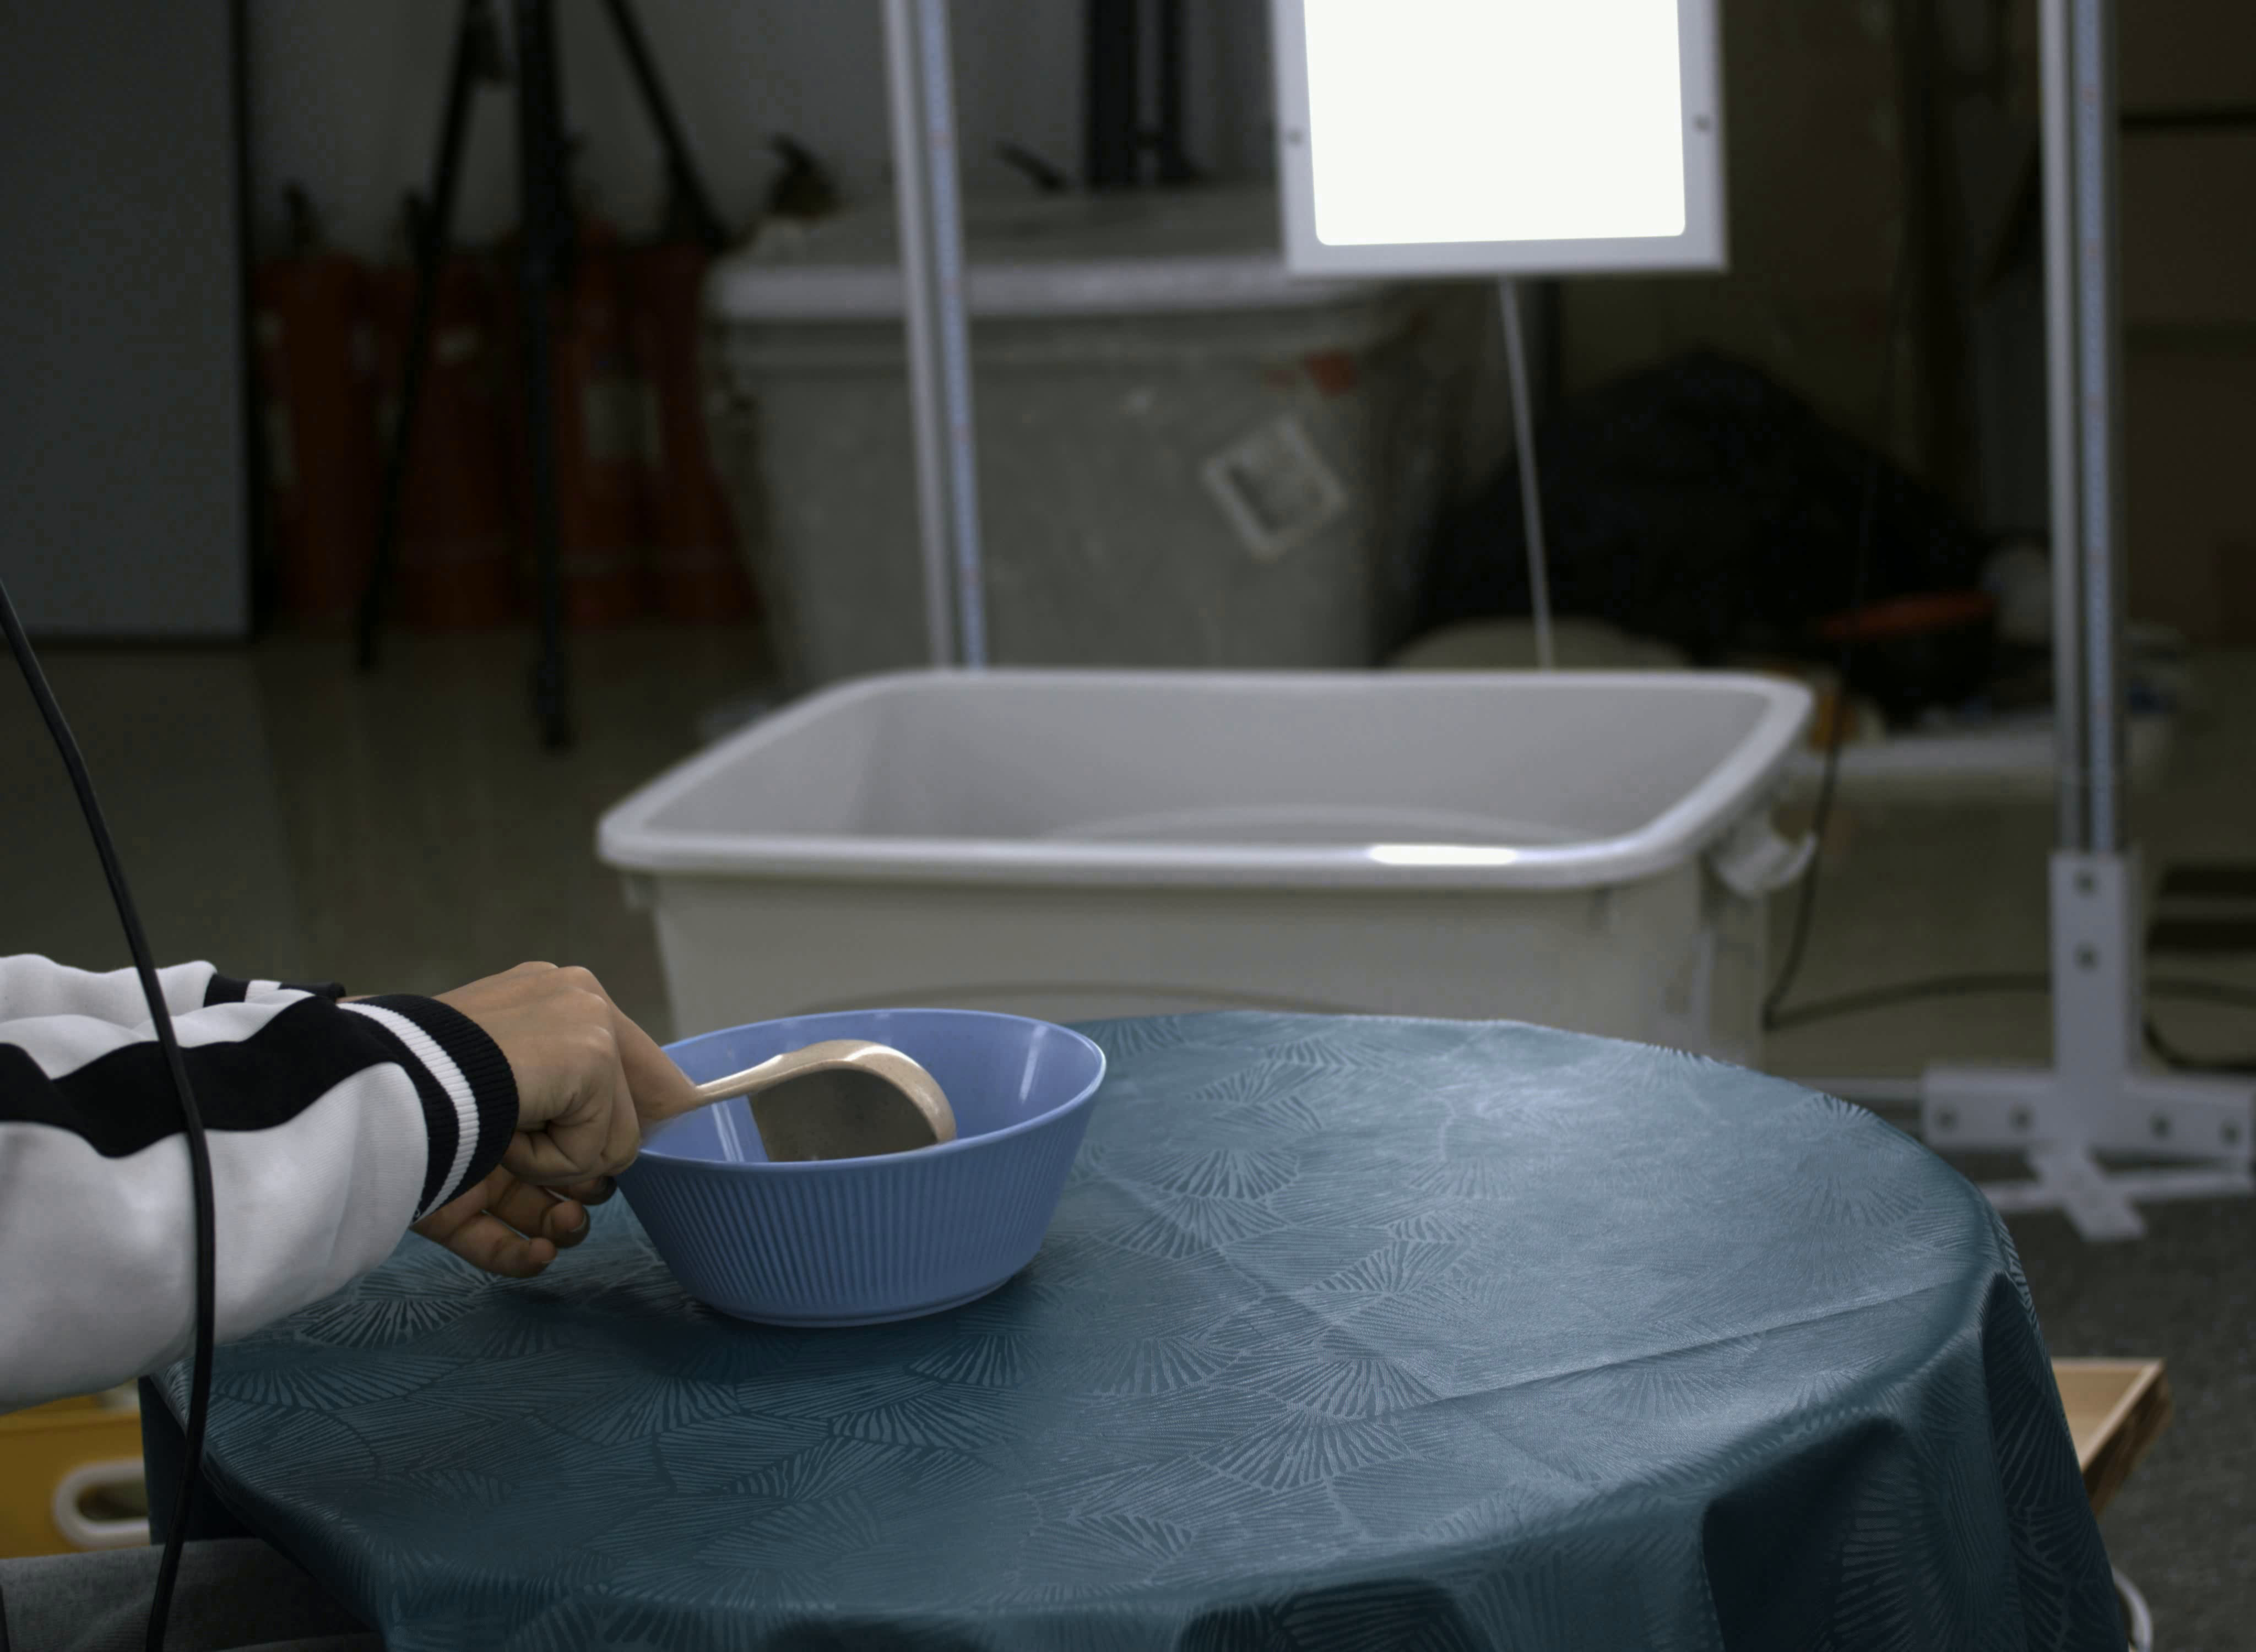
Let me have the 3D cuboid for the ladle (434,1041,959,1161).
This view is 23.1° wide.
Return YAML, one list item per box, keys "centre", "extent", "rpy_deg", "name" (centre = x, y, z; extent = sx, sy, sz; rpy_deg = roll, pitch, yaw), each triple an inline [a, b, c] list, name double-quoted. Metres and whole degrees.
- centre: [-0.139, 0.112, 1.741]
  extent: [0.073, 0.073, 0.248]
  rpy_deg: [6, 6, 31]
  name: "ladle"

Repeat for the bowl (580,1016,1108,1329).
- centre: [-0.091, 0.117, 1.826]
  extent: [0.175, 0.070, 0.176]
  rpy_deg: [-5, 13, 0]
  name: "bowl"
